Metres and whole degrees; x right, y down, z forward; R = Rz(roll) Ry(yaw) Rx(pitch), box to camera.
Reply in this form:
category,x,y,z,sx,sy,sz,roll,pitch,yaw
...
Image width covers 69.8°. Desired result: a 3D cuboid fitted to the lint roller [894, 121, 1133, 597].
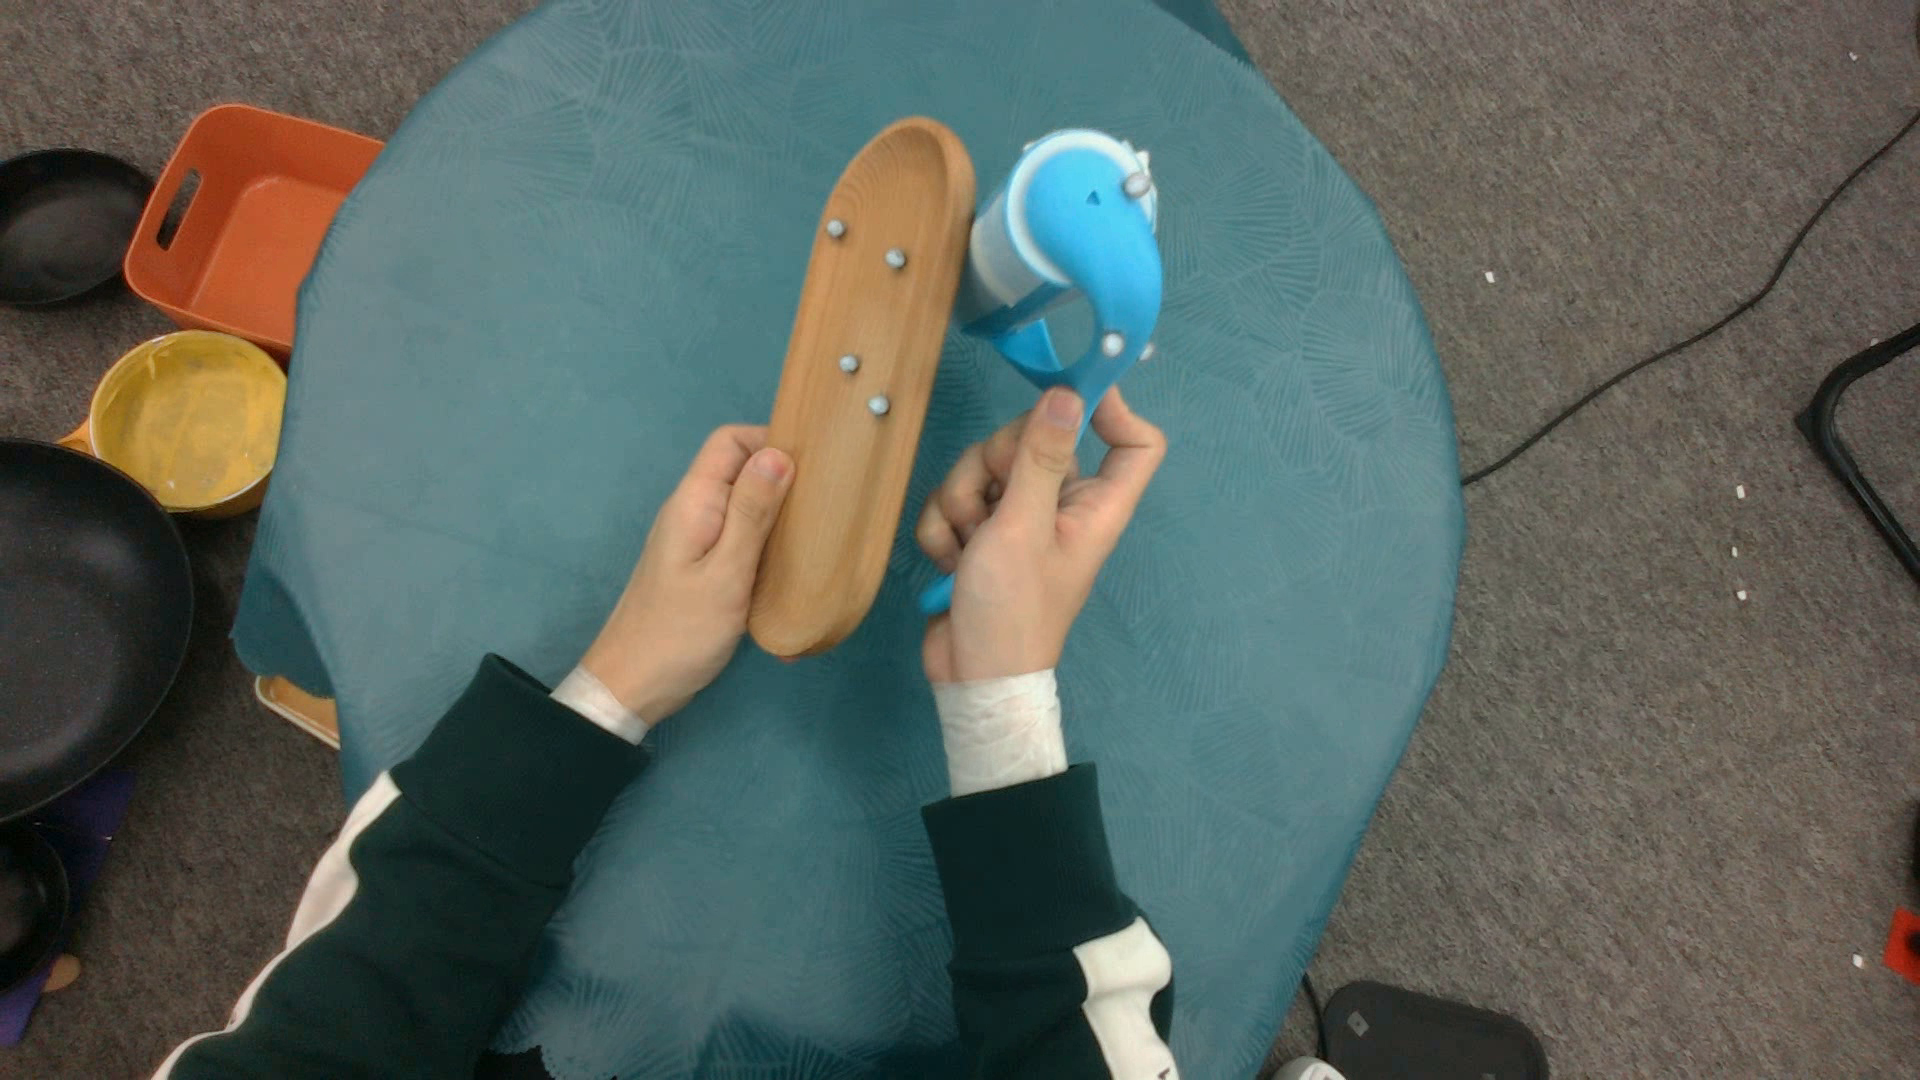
category,x,y,z,sx,sy,sz,roll,pitch,yaw
lint roller,0.011,-0.065,0.573,0.068,0.229,0.180,3,95,-11

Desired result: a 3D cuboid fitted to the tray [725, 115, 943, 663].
category,x,y,z,sx,sy,sz,roll,pitch,yaw
tray,-0.053,-0.063,0.574,0.020,0.101,0.231,12,86,-37
